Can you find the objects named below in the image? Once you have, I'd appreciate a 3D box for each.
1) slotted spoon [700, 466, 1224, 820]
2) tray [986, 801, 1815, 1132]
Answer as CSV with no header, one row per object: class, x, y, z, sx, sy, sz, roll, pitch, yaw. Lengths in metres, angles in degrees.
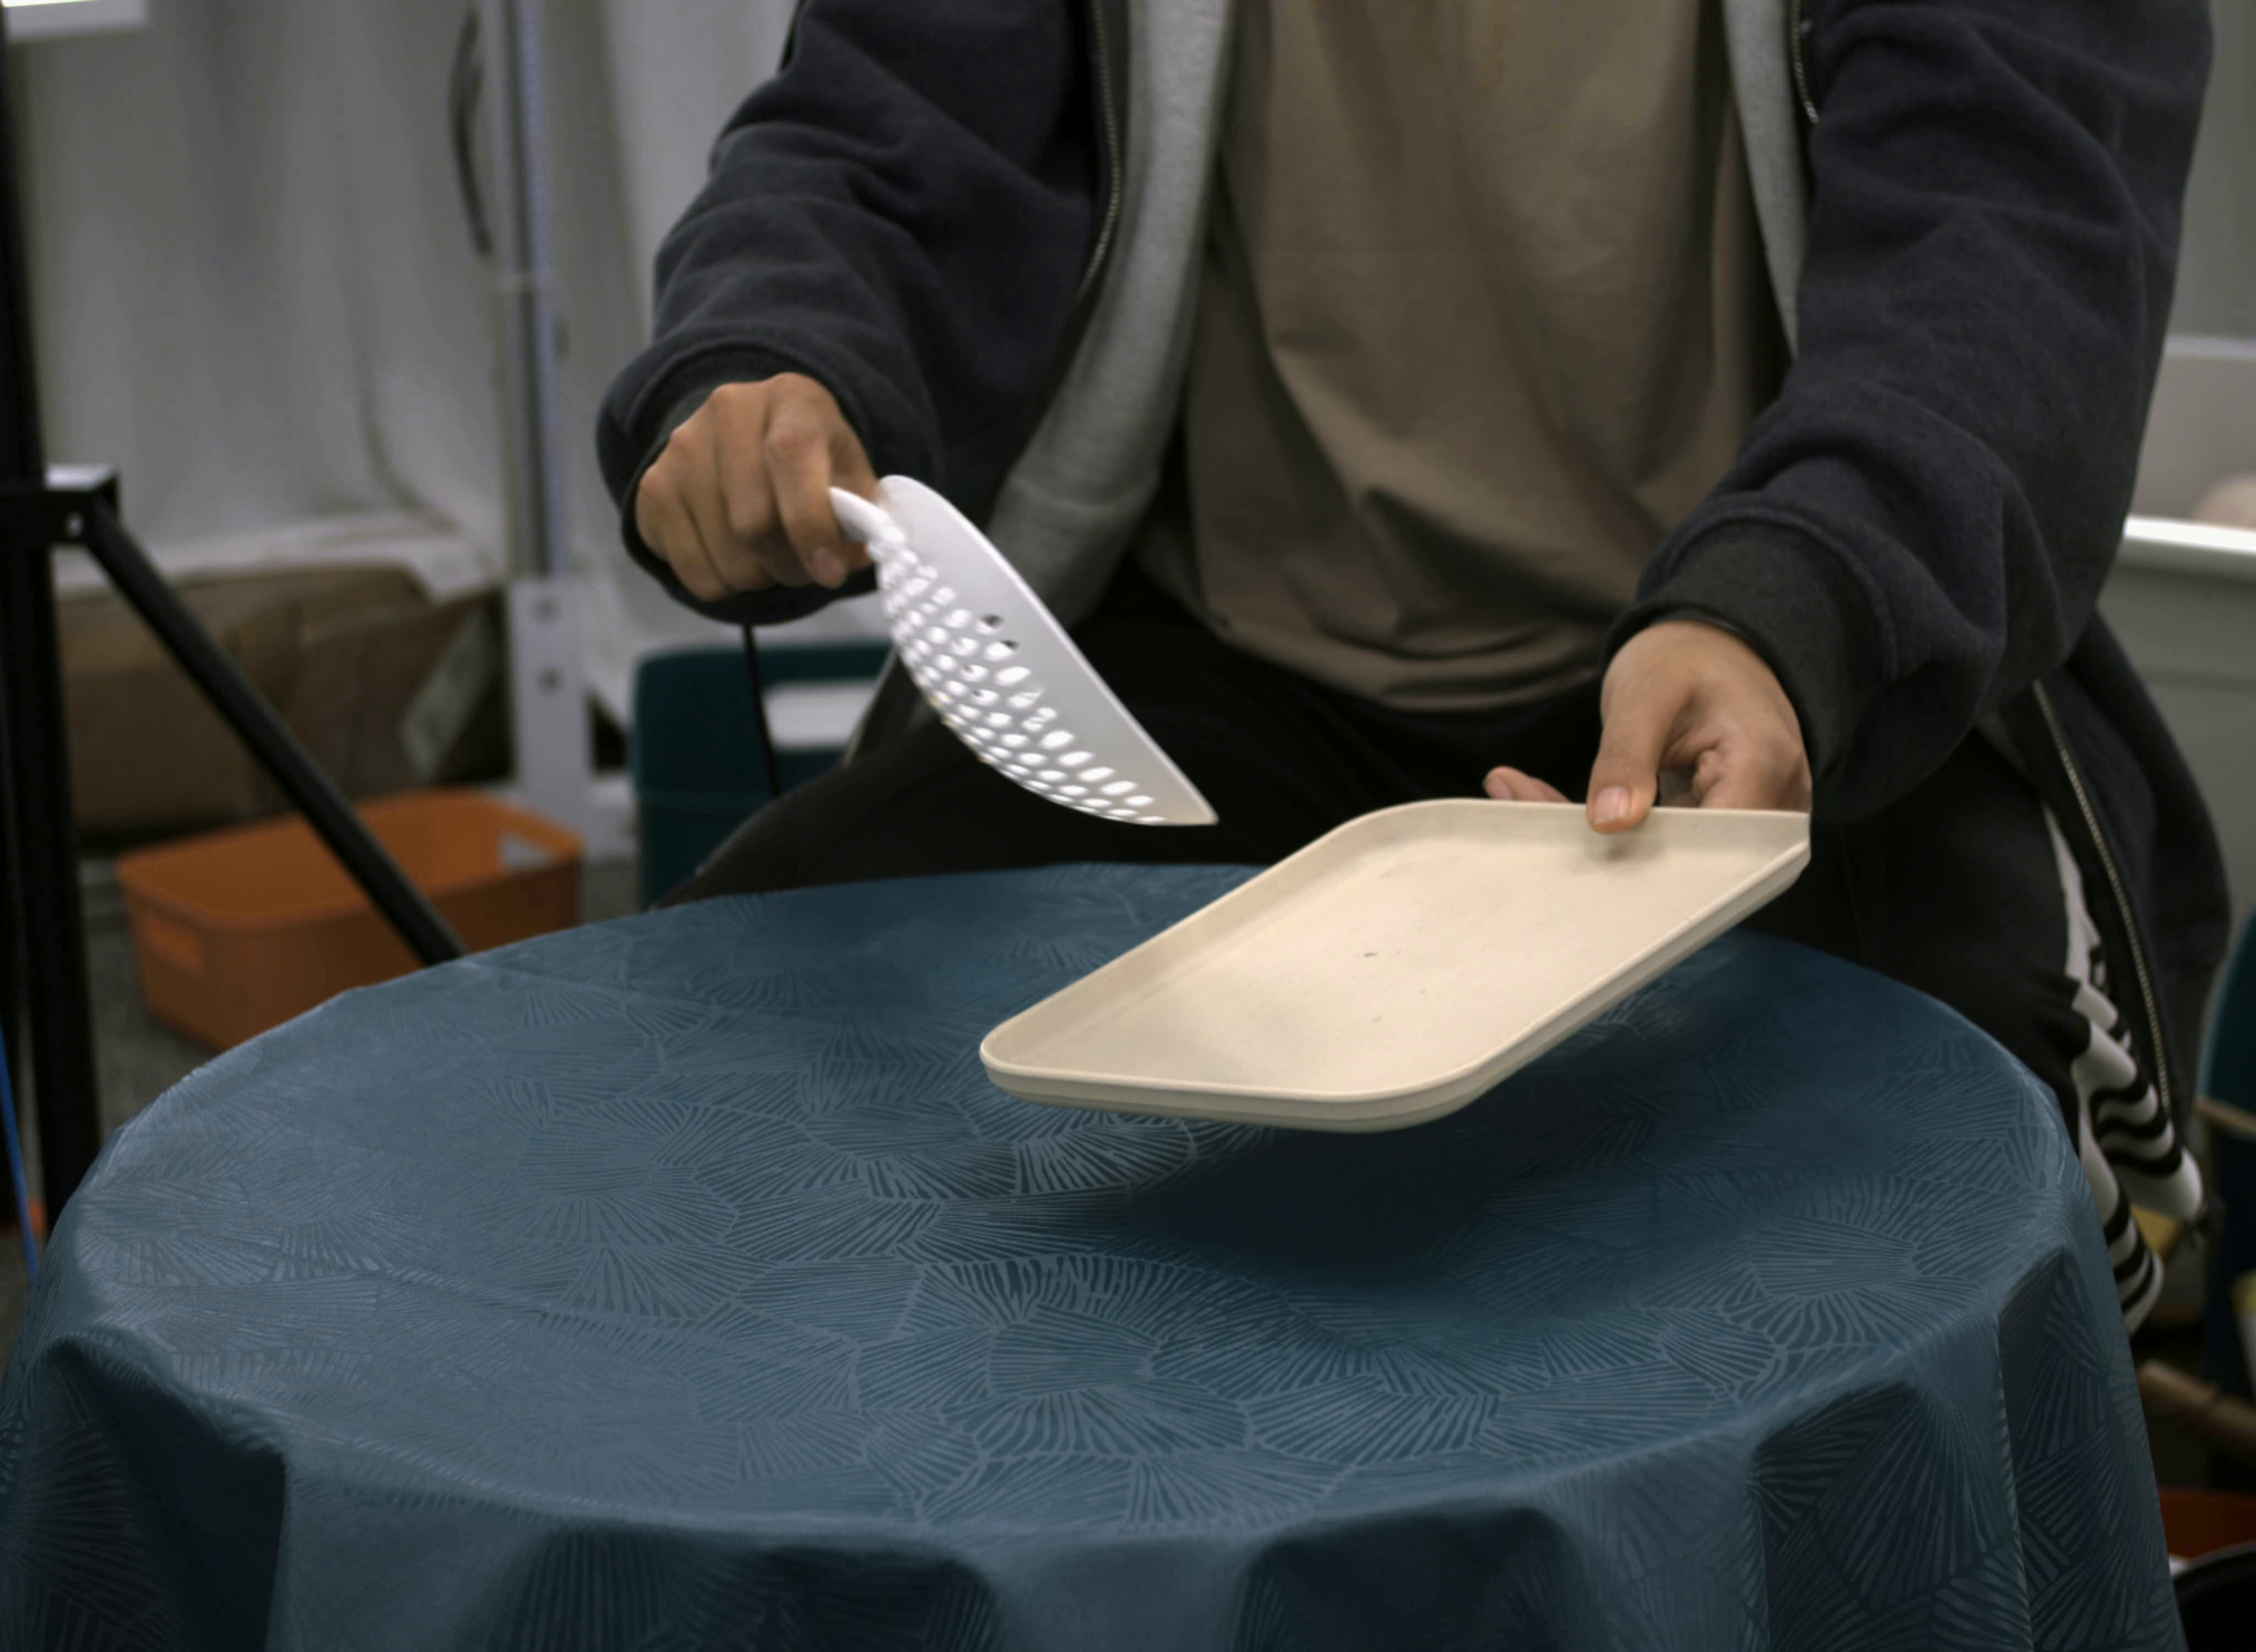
slotted spoon,-0.068,-0.072,1.641,0.050,0.135,0.353,-43,24,-1
tray,0.084,0.040,1.566,0.175,0.017,0.235,2,21,39
